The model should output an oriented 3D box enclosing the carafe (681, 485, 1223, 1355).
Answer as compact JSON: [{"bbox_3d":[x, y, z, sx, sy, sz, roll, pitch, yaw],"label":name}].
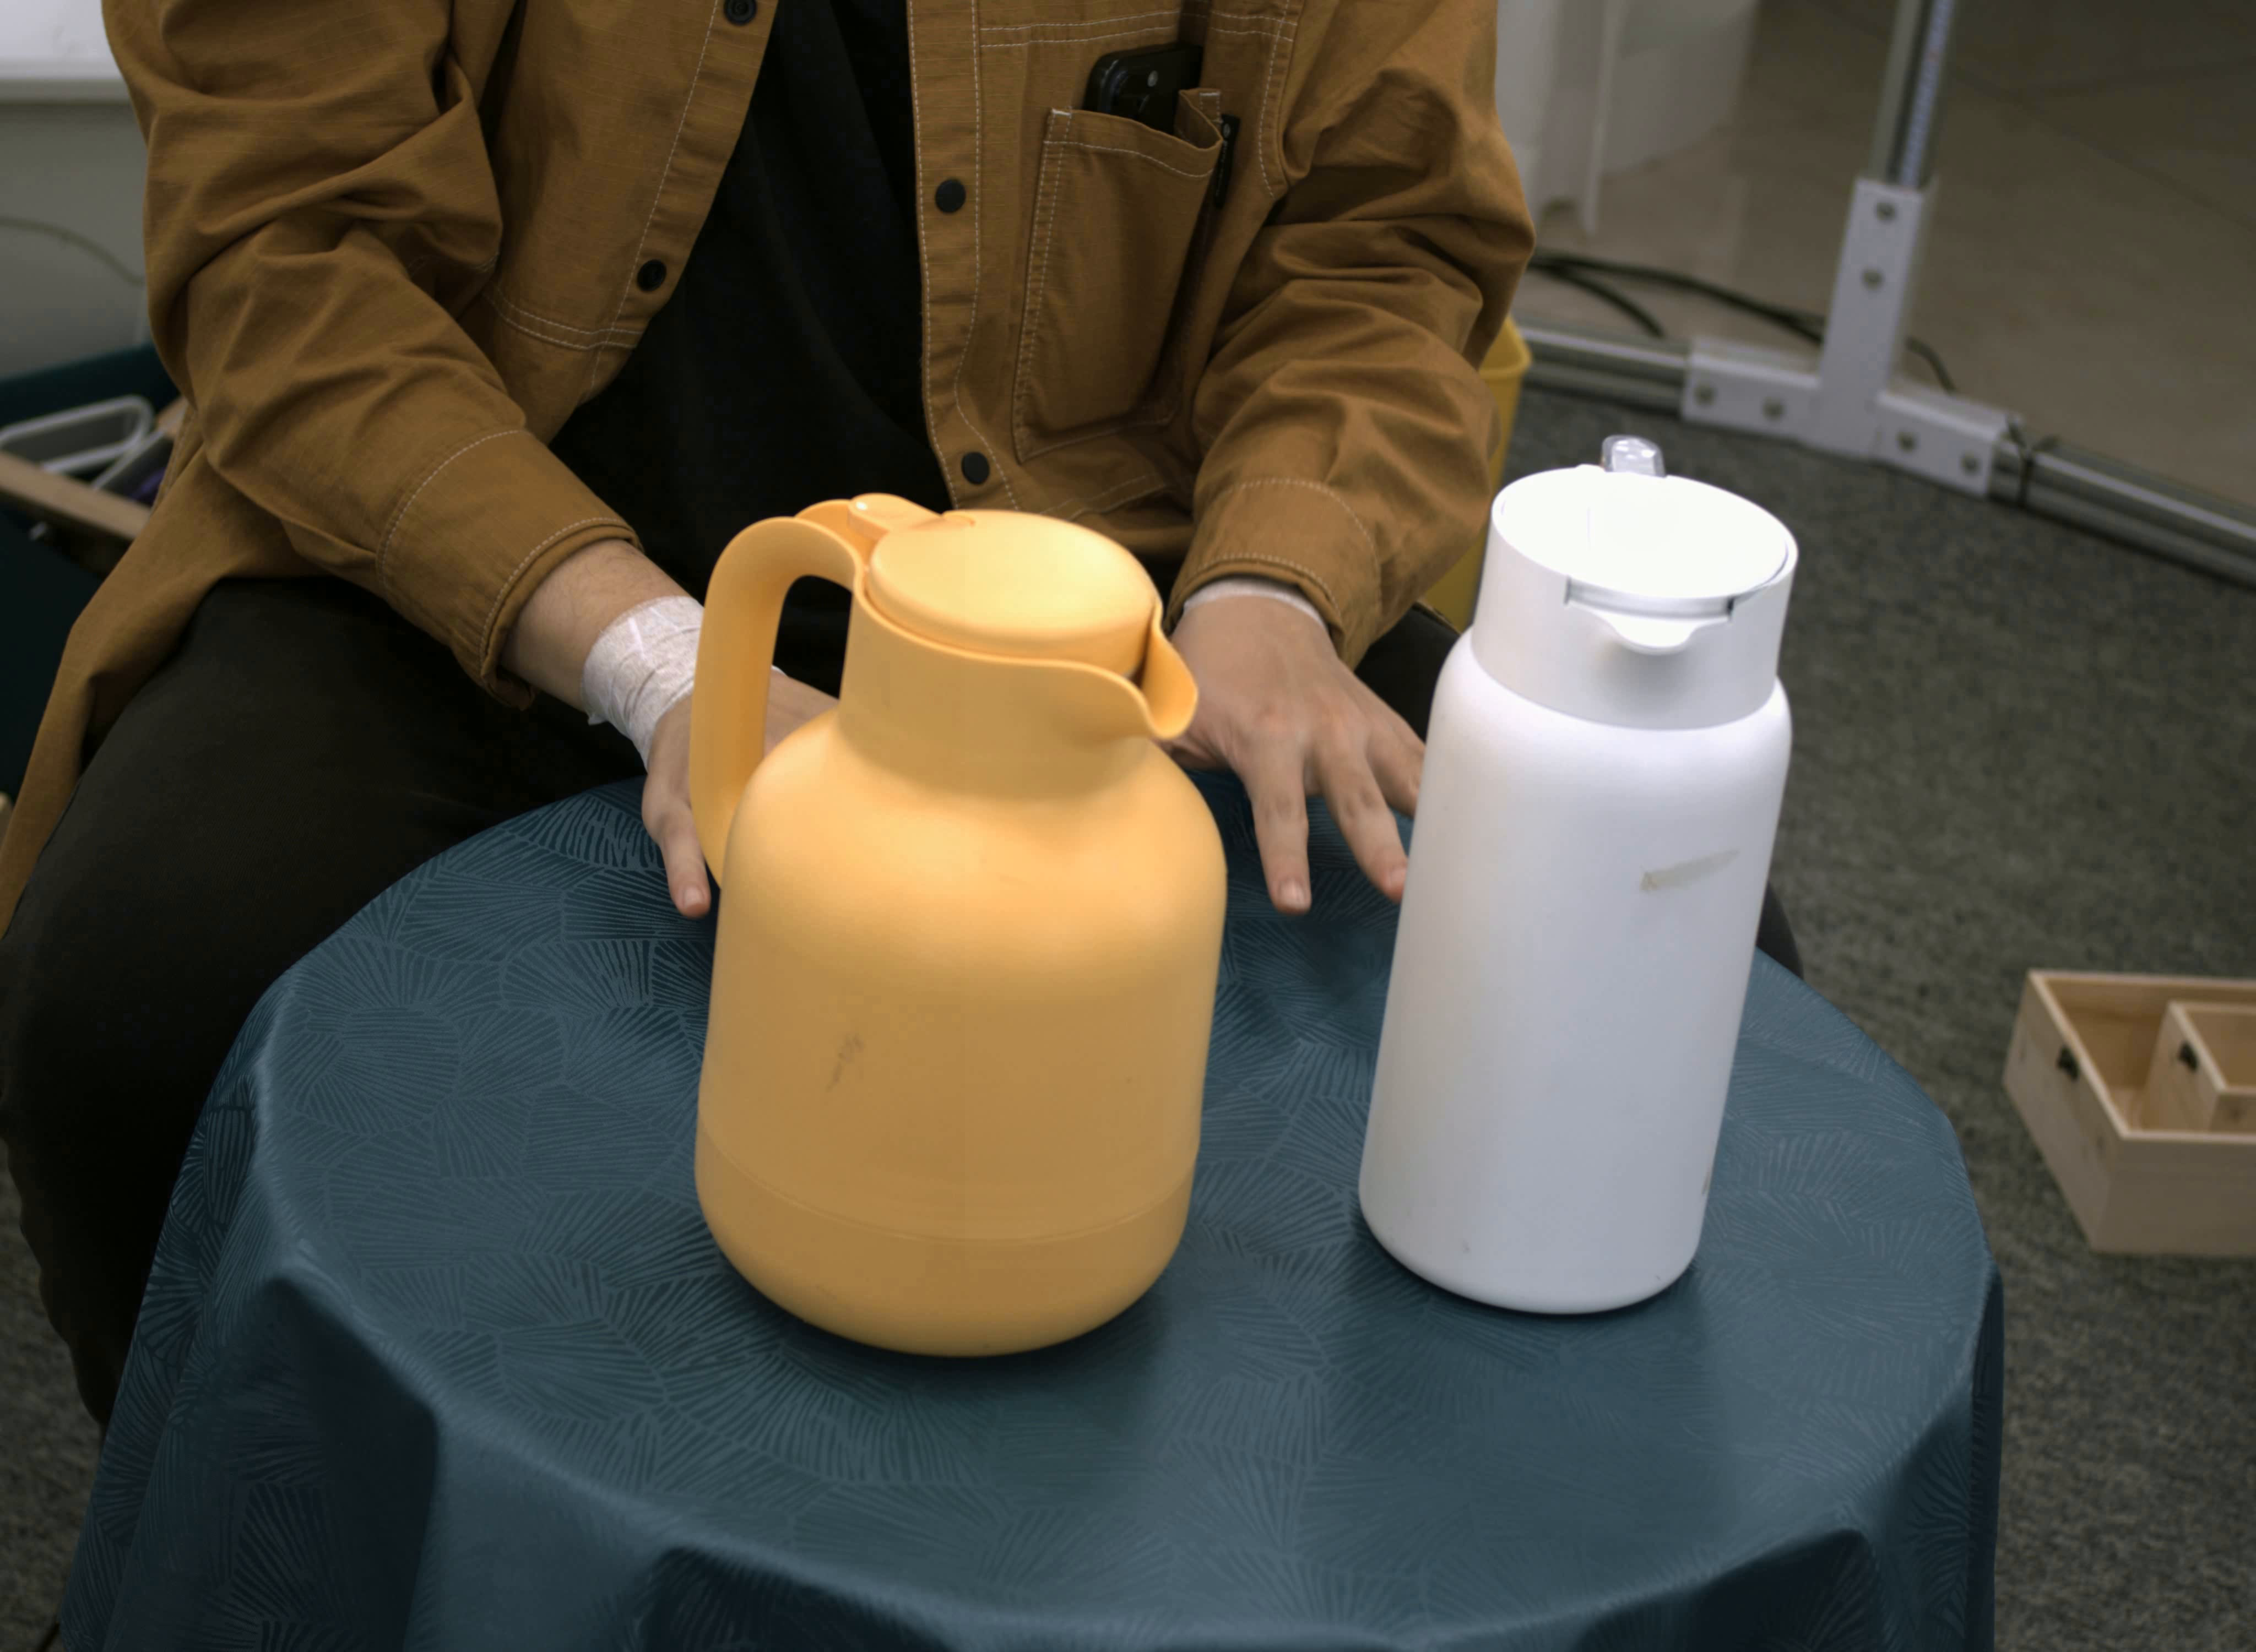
[{"bbox_3d":[-0.064,0.020,1.705,0.162,0.260,0.204,-16,35,-43],"label":"carafe"}]

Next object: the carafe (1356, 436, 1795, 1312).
[{"bbox_3d":[0.147,0.012,1.763,0.123,0.268,0.174,4,26,-1],"label":"carafe"}]
